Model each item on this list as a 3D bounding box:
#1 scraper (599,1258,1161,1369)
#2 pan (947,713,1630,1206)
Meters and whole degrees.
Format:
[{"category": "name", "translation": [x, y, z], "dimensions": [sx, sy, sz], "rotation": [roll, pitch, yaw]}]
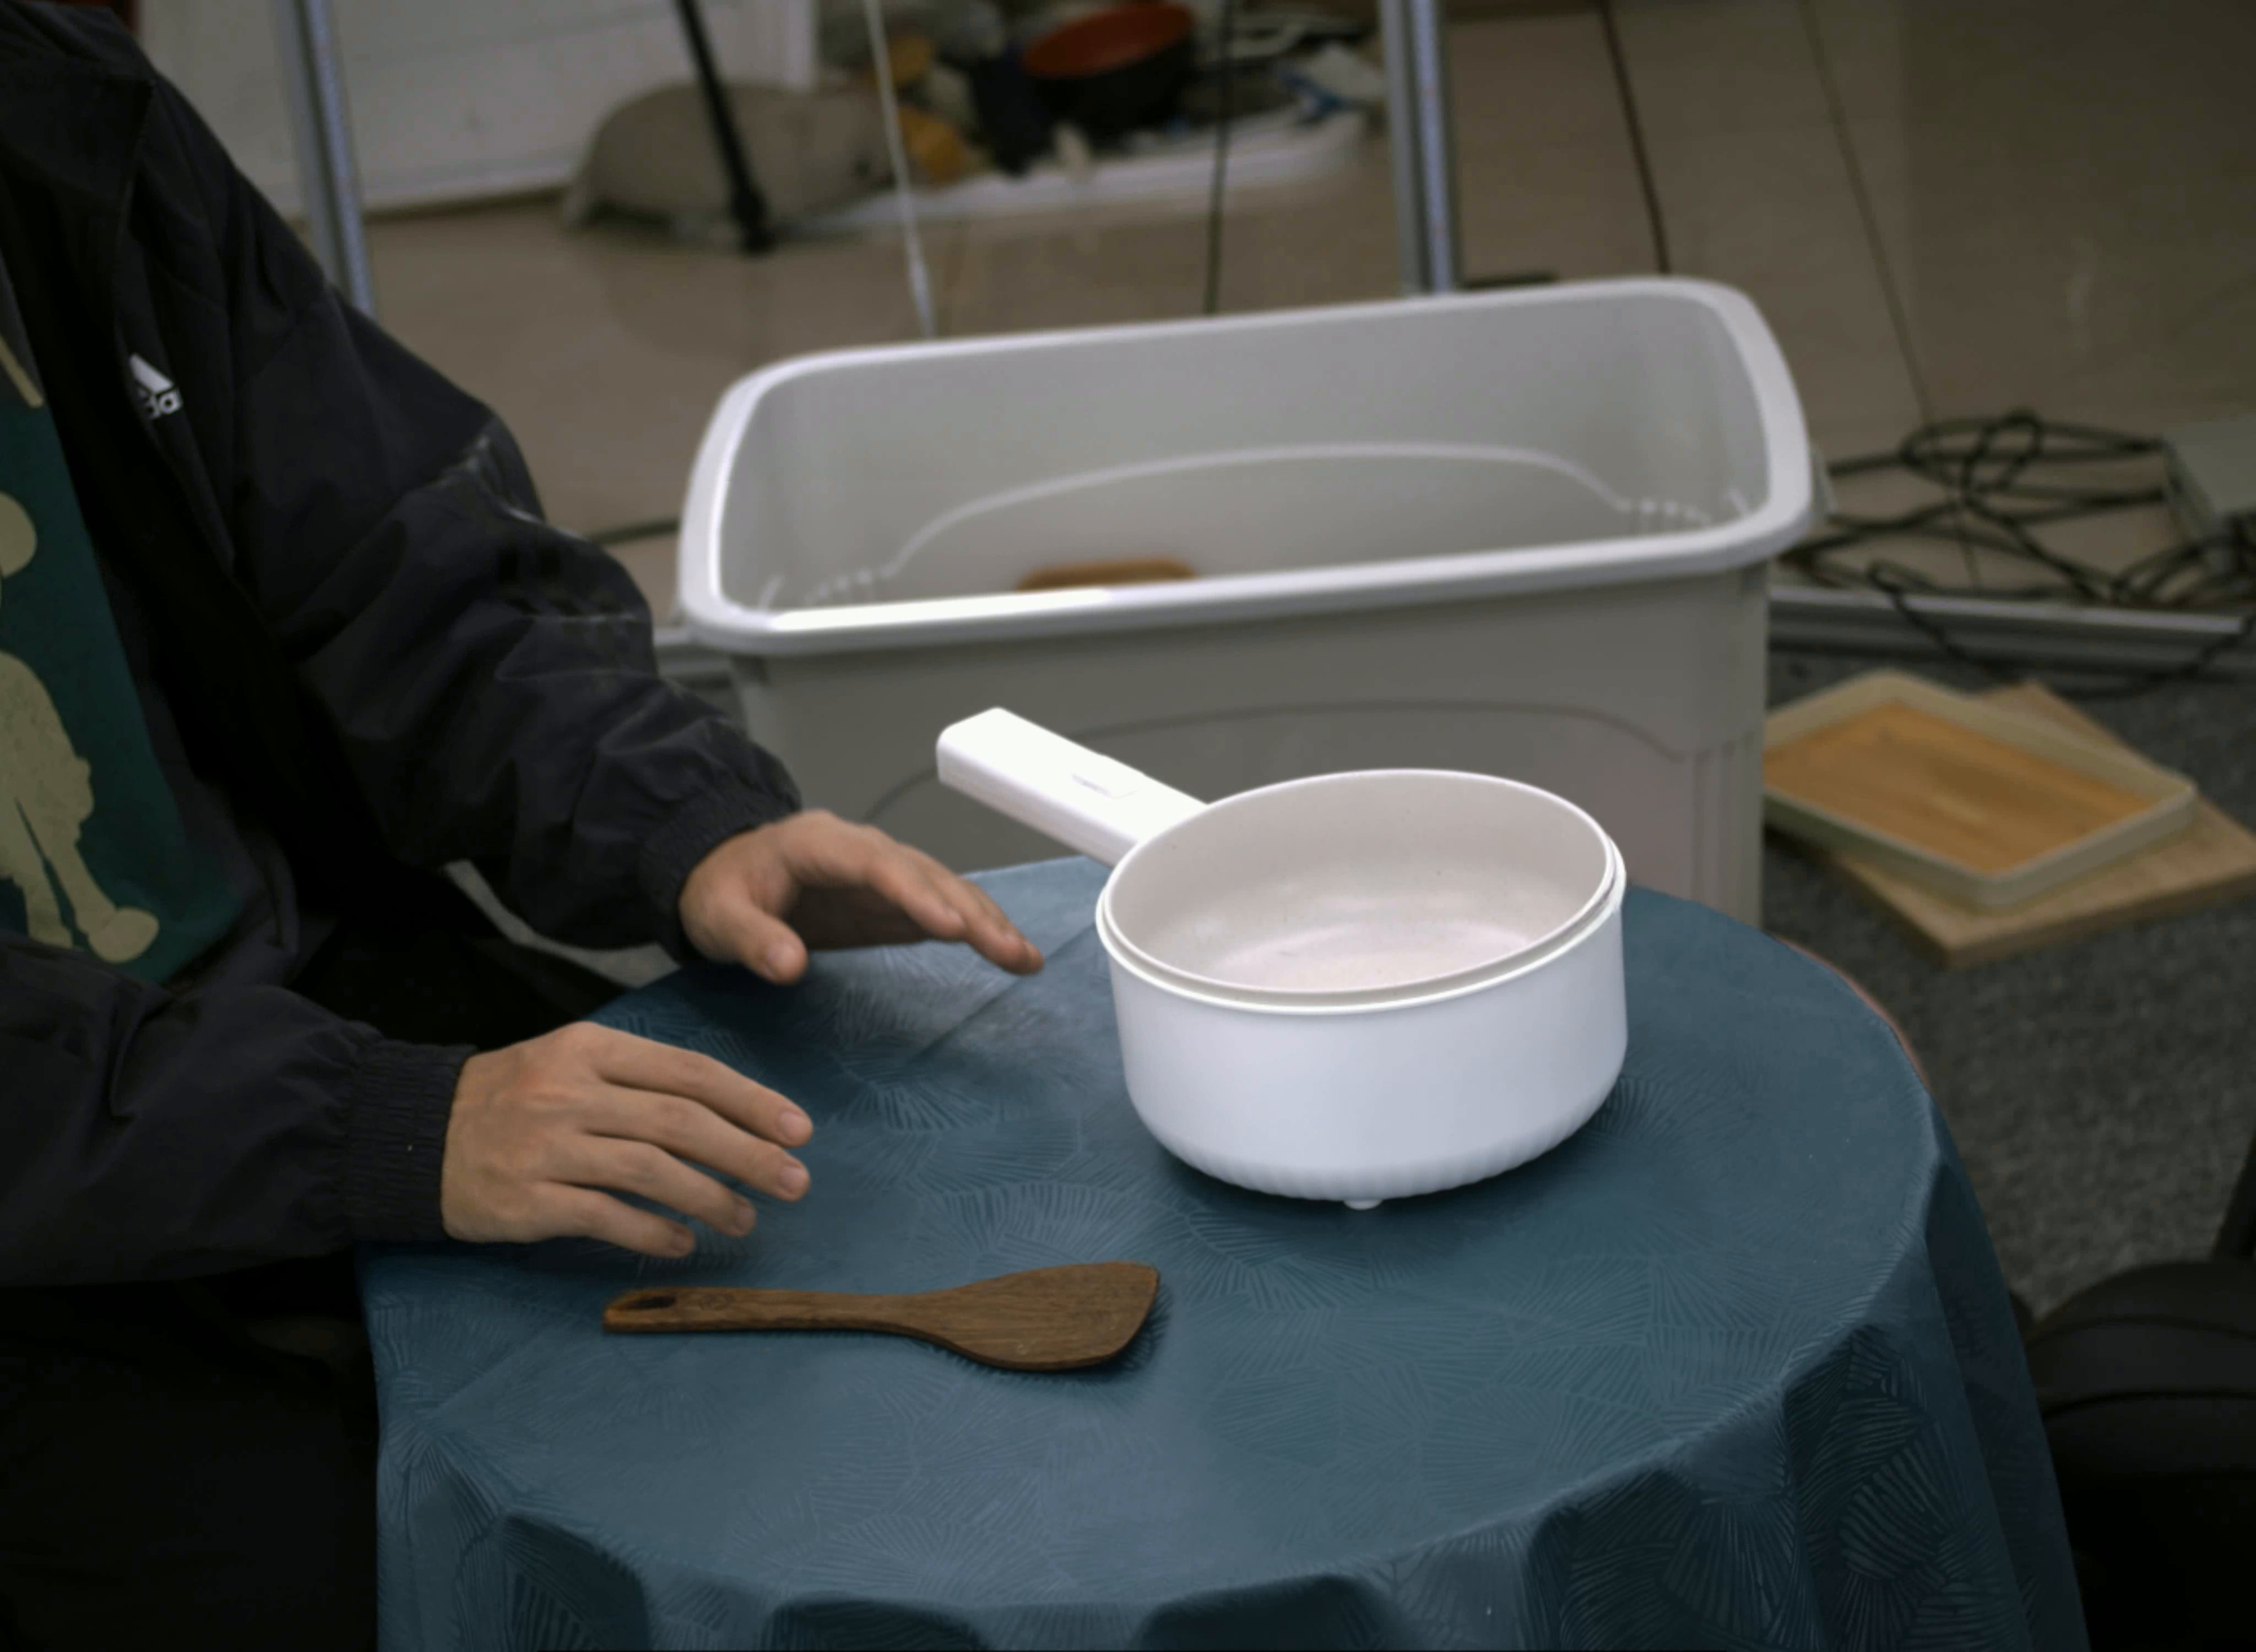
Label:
[{"category": "scraper", "translation": [-0.092, 0.178, 2.077], "dimensions": [0.211, 0.011, 0.075], "rotation": [-1, 24, 15]}, {"category": "pan", "translation": [0.047, 0.045, 2.221], "dimensions": [0.200, 0.103, 0.351], "rotation": [-23, 28, -31]}]
